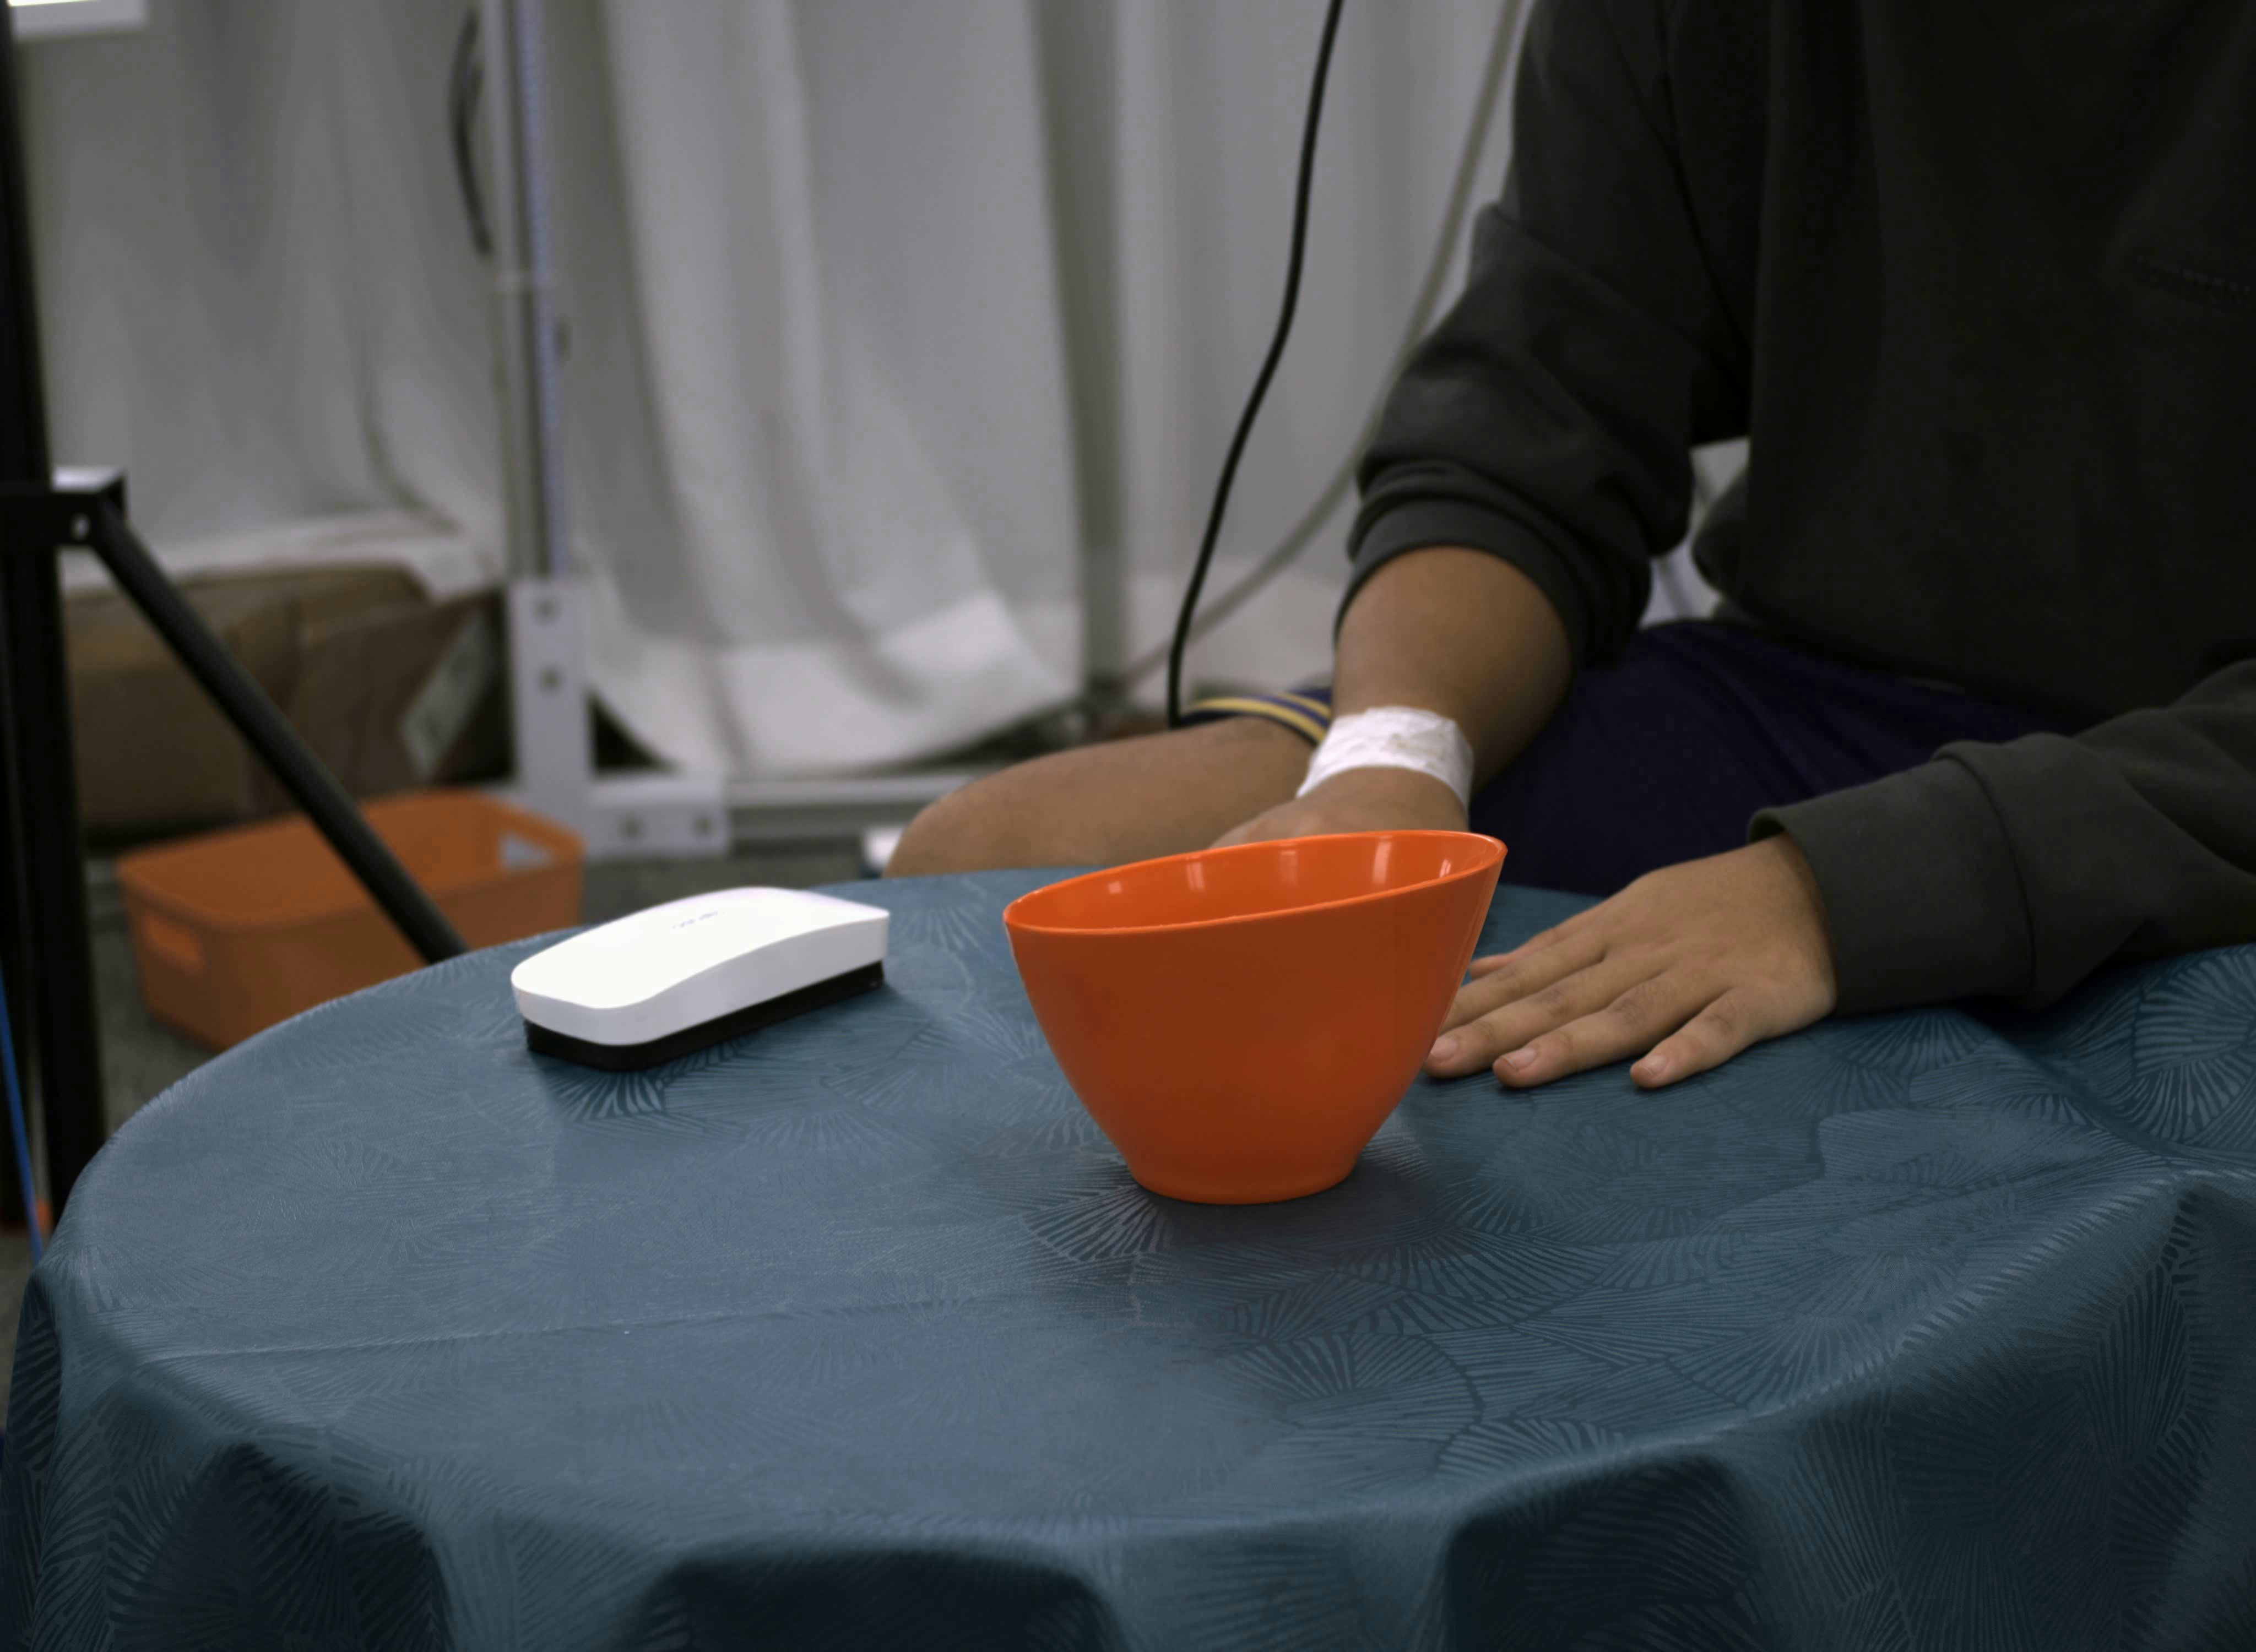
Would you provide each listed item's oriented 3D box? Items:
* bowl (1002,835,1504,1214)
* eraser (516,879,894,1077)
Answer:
[{"bbox_3d":[0.038,0.057,1.553,0.147,0.104,0.149,-3,15,-1],"label":"bowl"},{"bbox_3d":[-0.136,0.046,1.742,0.065,0.034,0.128,14,24,42],"label":"eraser"}]
